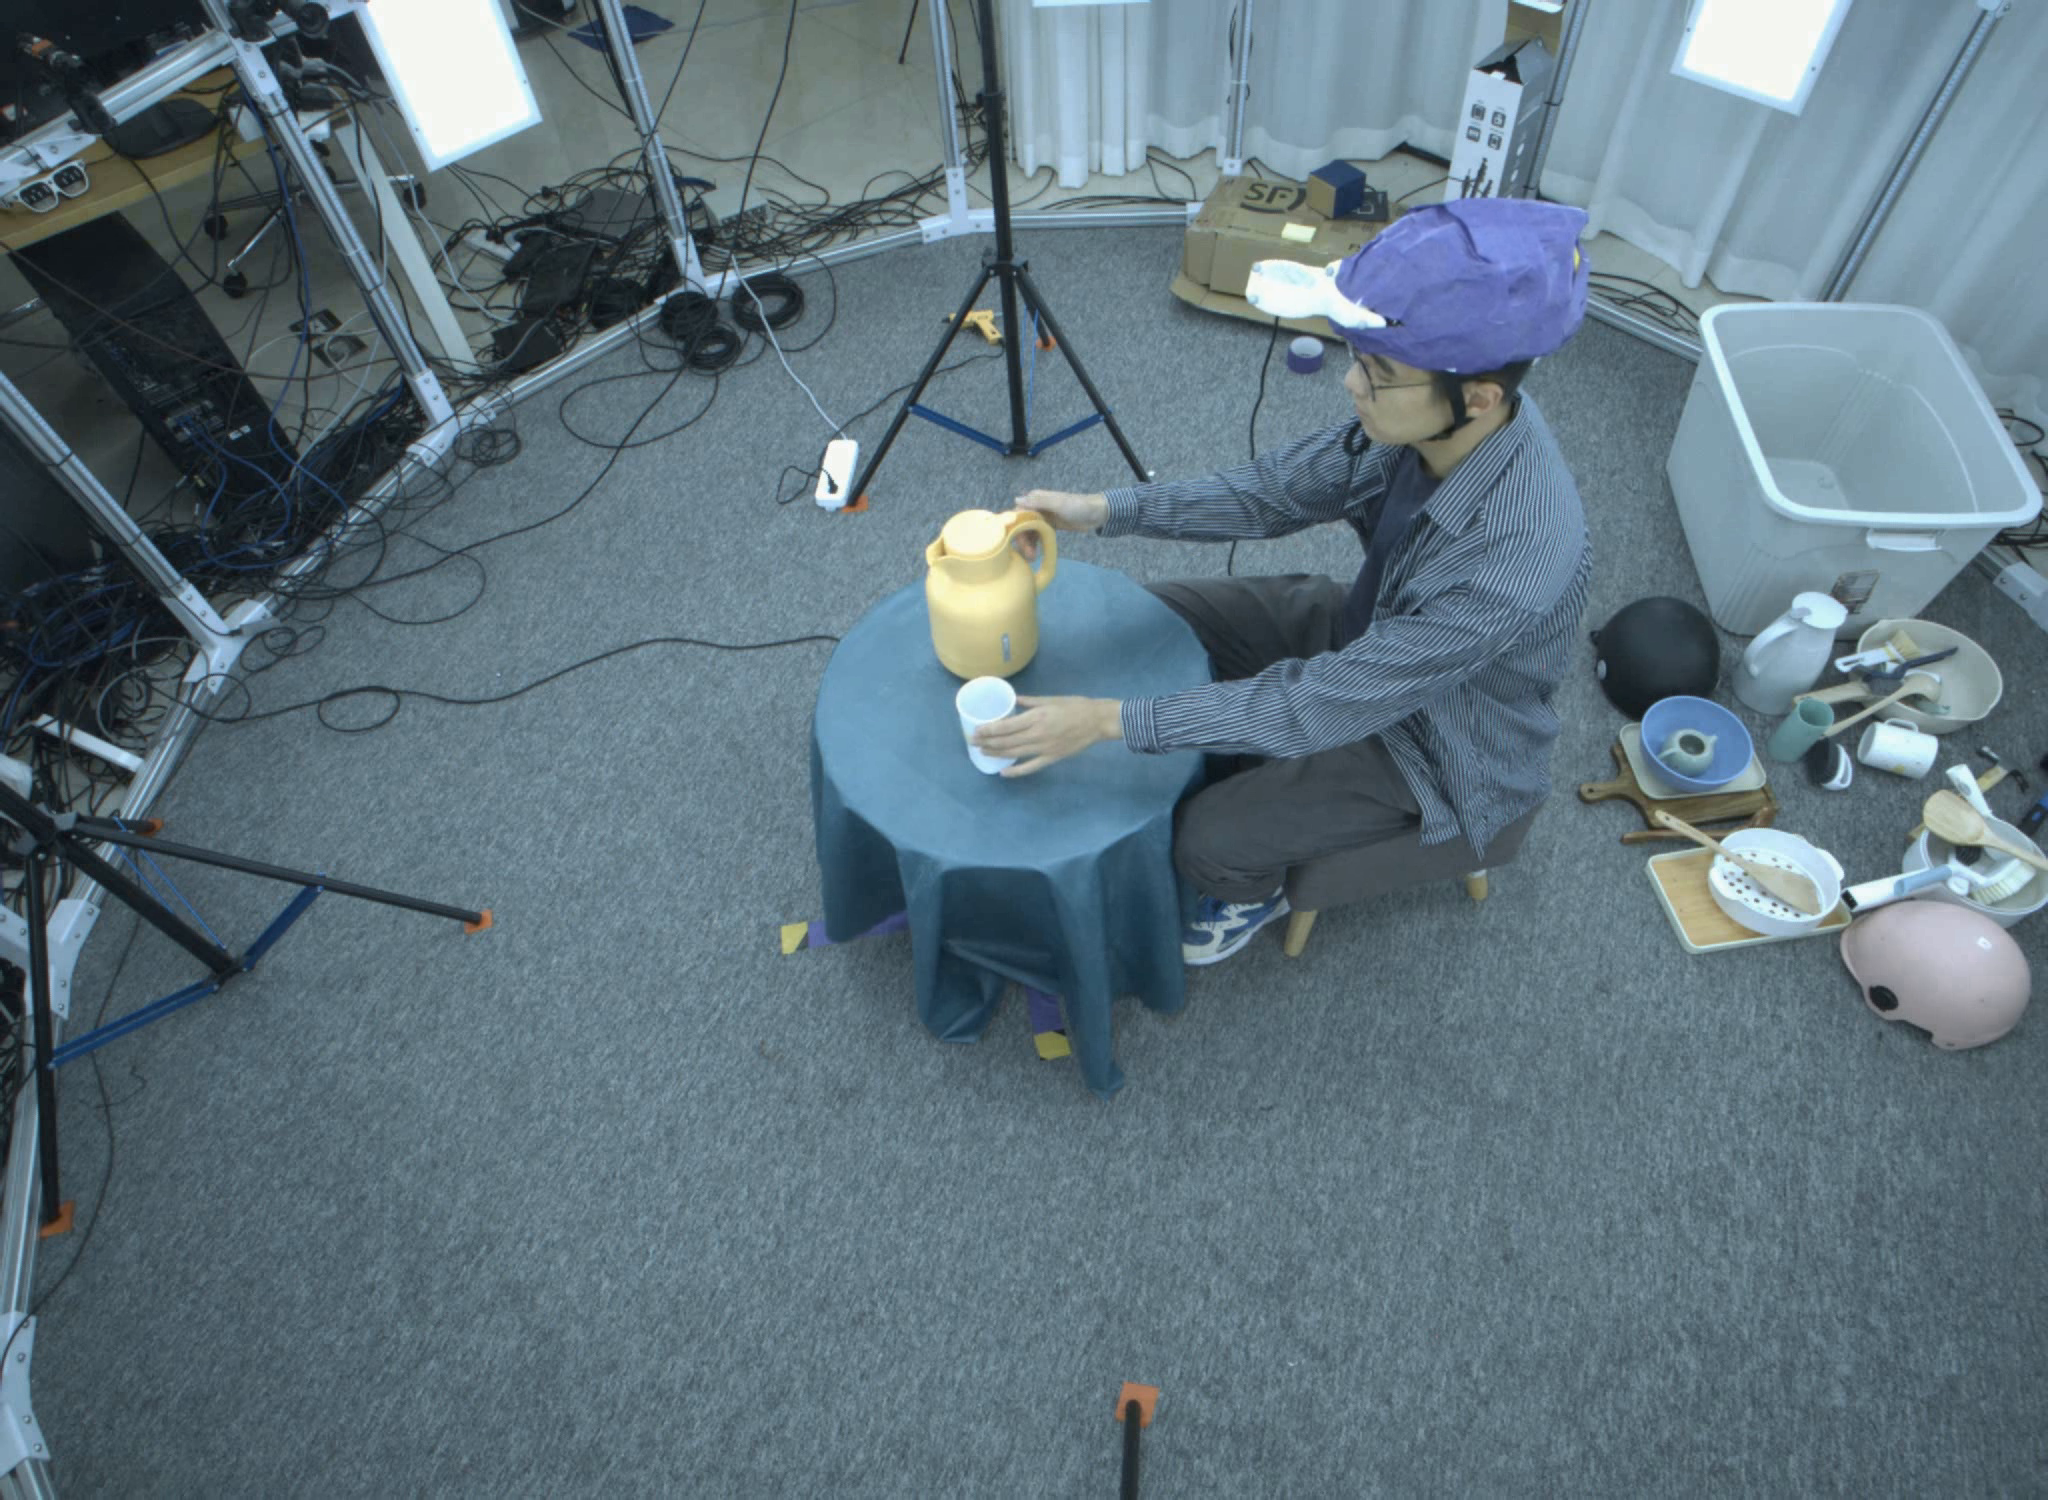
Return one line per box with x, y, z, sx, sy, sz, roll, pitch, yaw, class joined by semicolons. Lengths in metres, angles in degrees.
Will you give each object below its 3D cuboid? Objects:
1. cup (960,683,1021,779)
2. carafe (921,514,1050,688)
-0.044;-0.024;1.730;0.081;0.127;0.081;-1;53;3;cup
-0.052;-0.228;1.795;0.204;0.263;0.160;-27;58;-15;carafe
